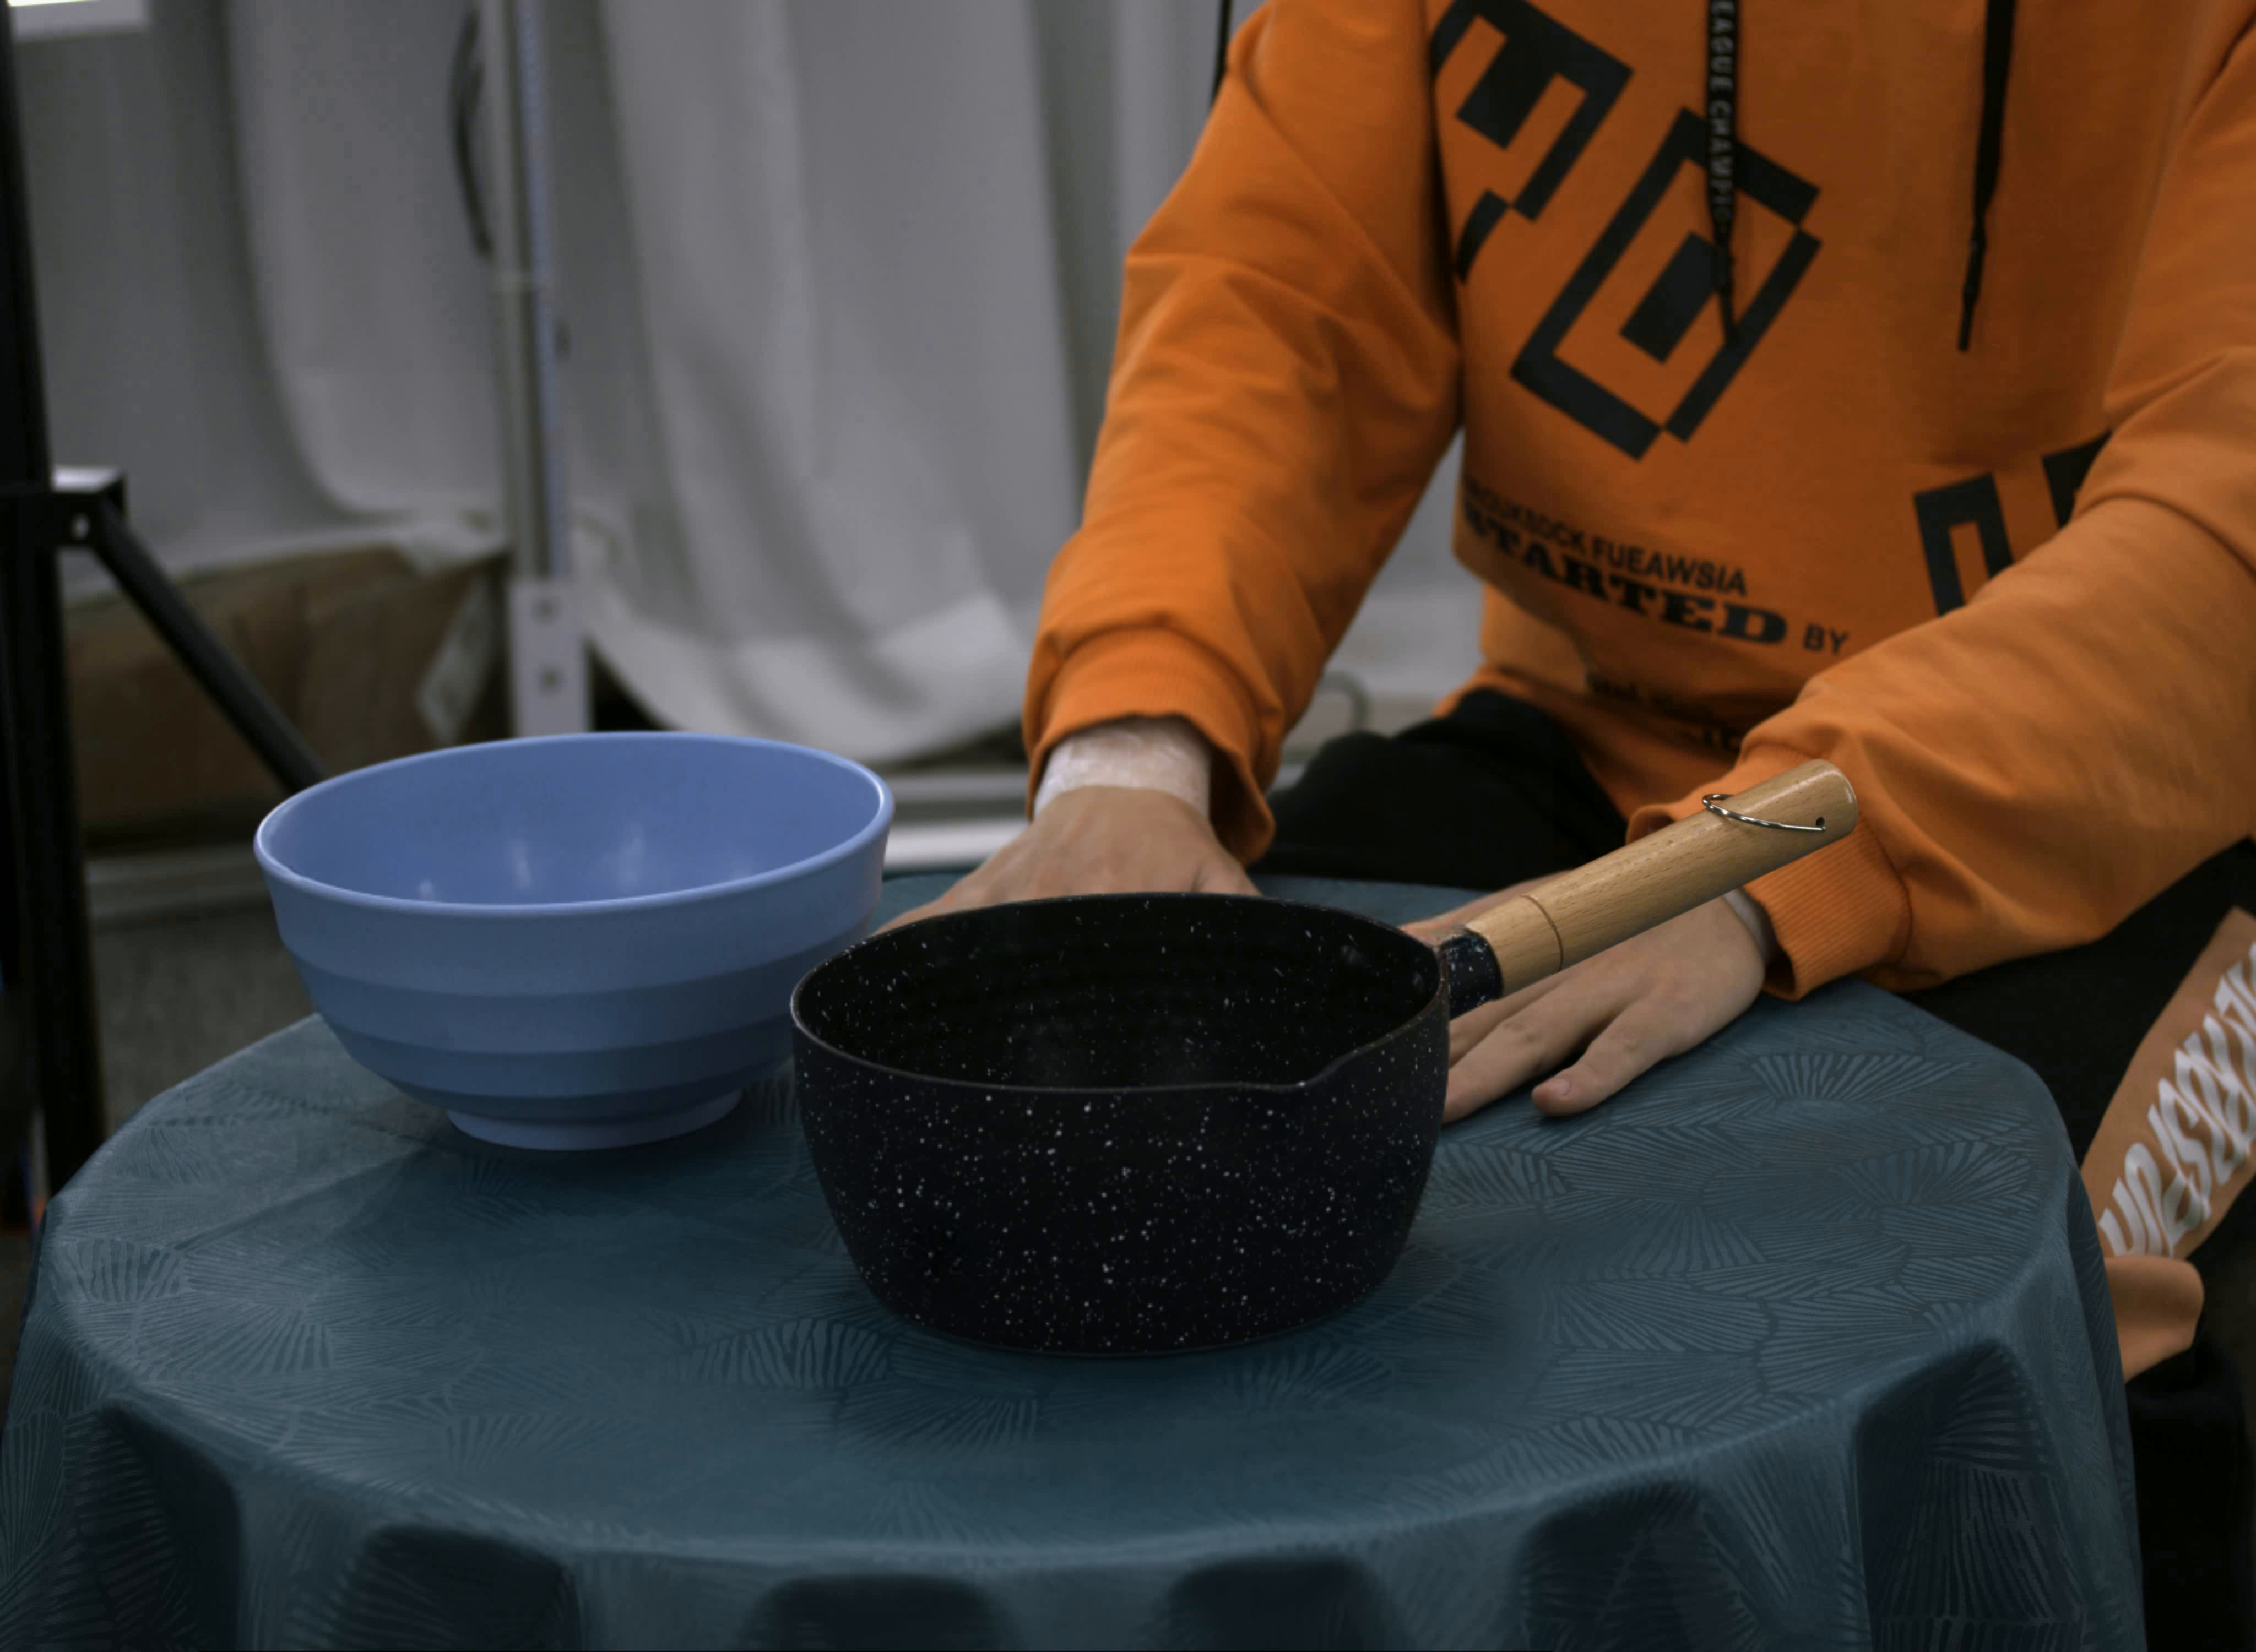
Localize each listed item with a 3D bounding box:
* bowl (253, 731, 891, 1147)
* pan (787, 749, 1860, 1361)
[{"bbox_3d":[-0.168,0.040,1.650,0.195,0.095,0.197,-4,16,0],"label":"bowl"},{"bbox_3d":[0.067,0.060,1.519,0.335,0.108,0.212,-12,17,-27],"label":"pan"}]
